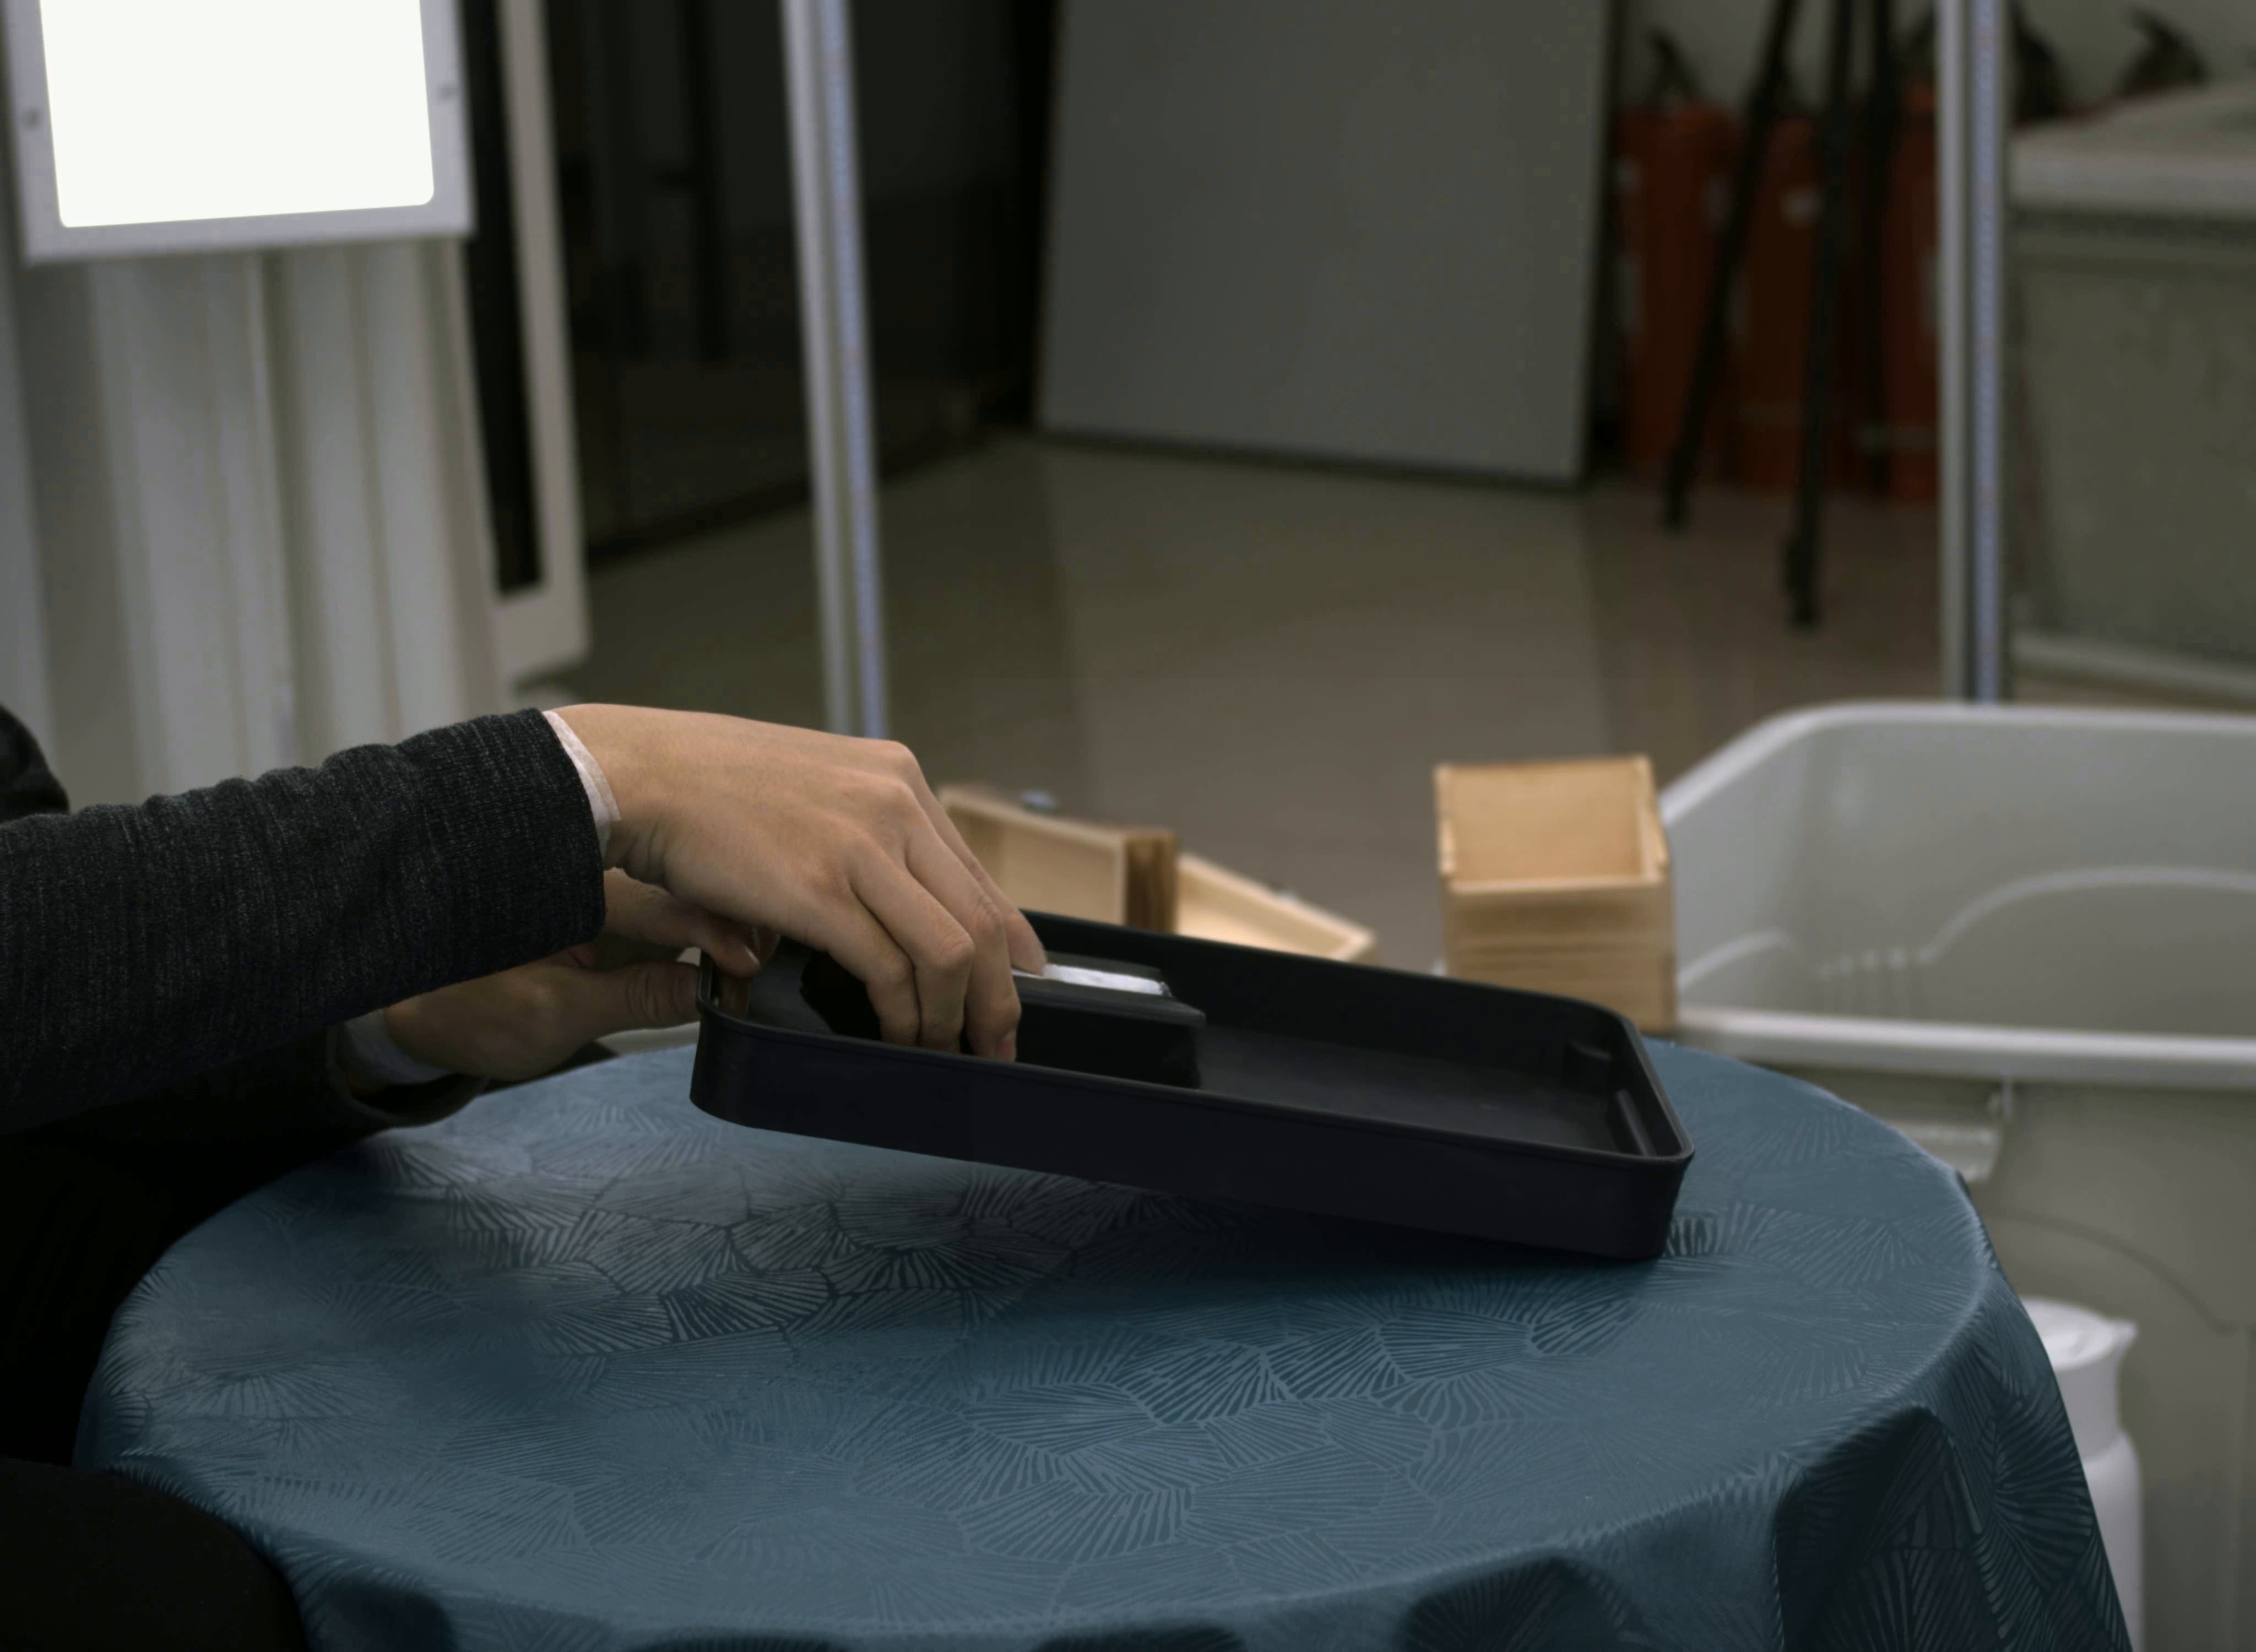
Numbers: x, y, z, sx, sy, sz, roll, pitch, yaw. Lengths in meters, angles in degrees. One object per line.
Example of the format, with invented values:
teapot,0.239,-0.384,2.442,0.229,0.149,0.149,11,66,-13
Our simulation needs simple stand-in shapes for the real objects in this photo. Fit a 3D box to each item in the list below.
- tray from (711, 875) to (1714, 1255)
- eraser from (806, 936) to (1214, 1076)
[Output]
tray,0.022,0.075,1.735,0.313,0.037,0.185,8,13,-5
eraser,-0.038,0.061,1.731,0.123,0.031,0.054,7,14,-25
